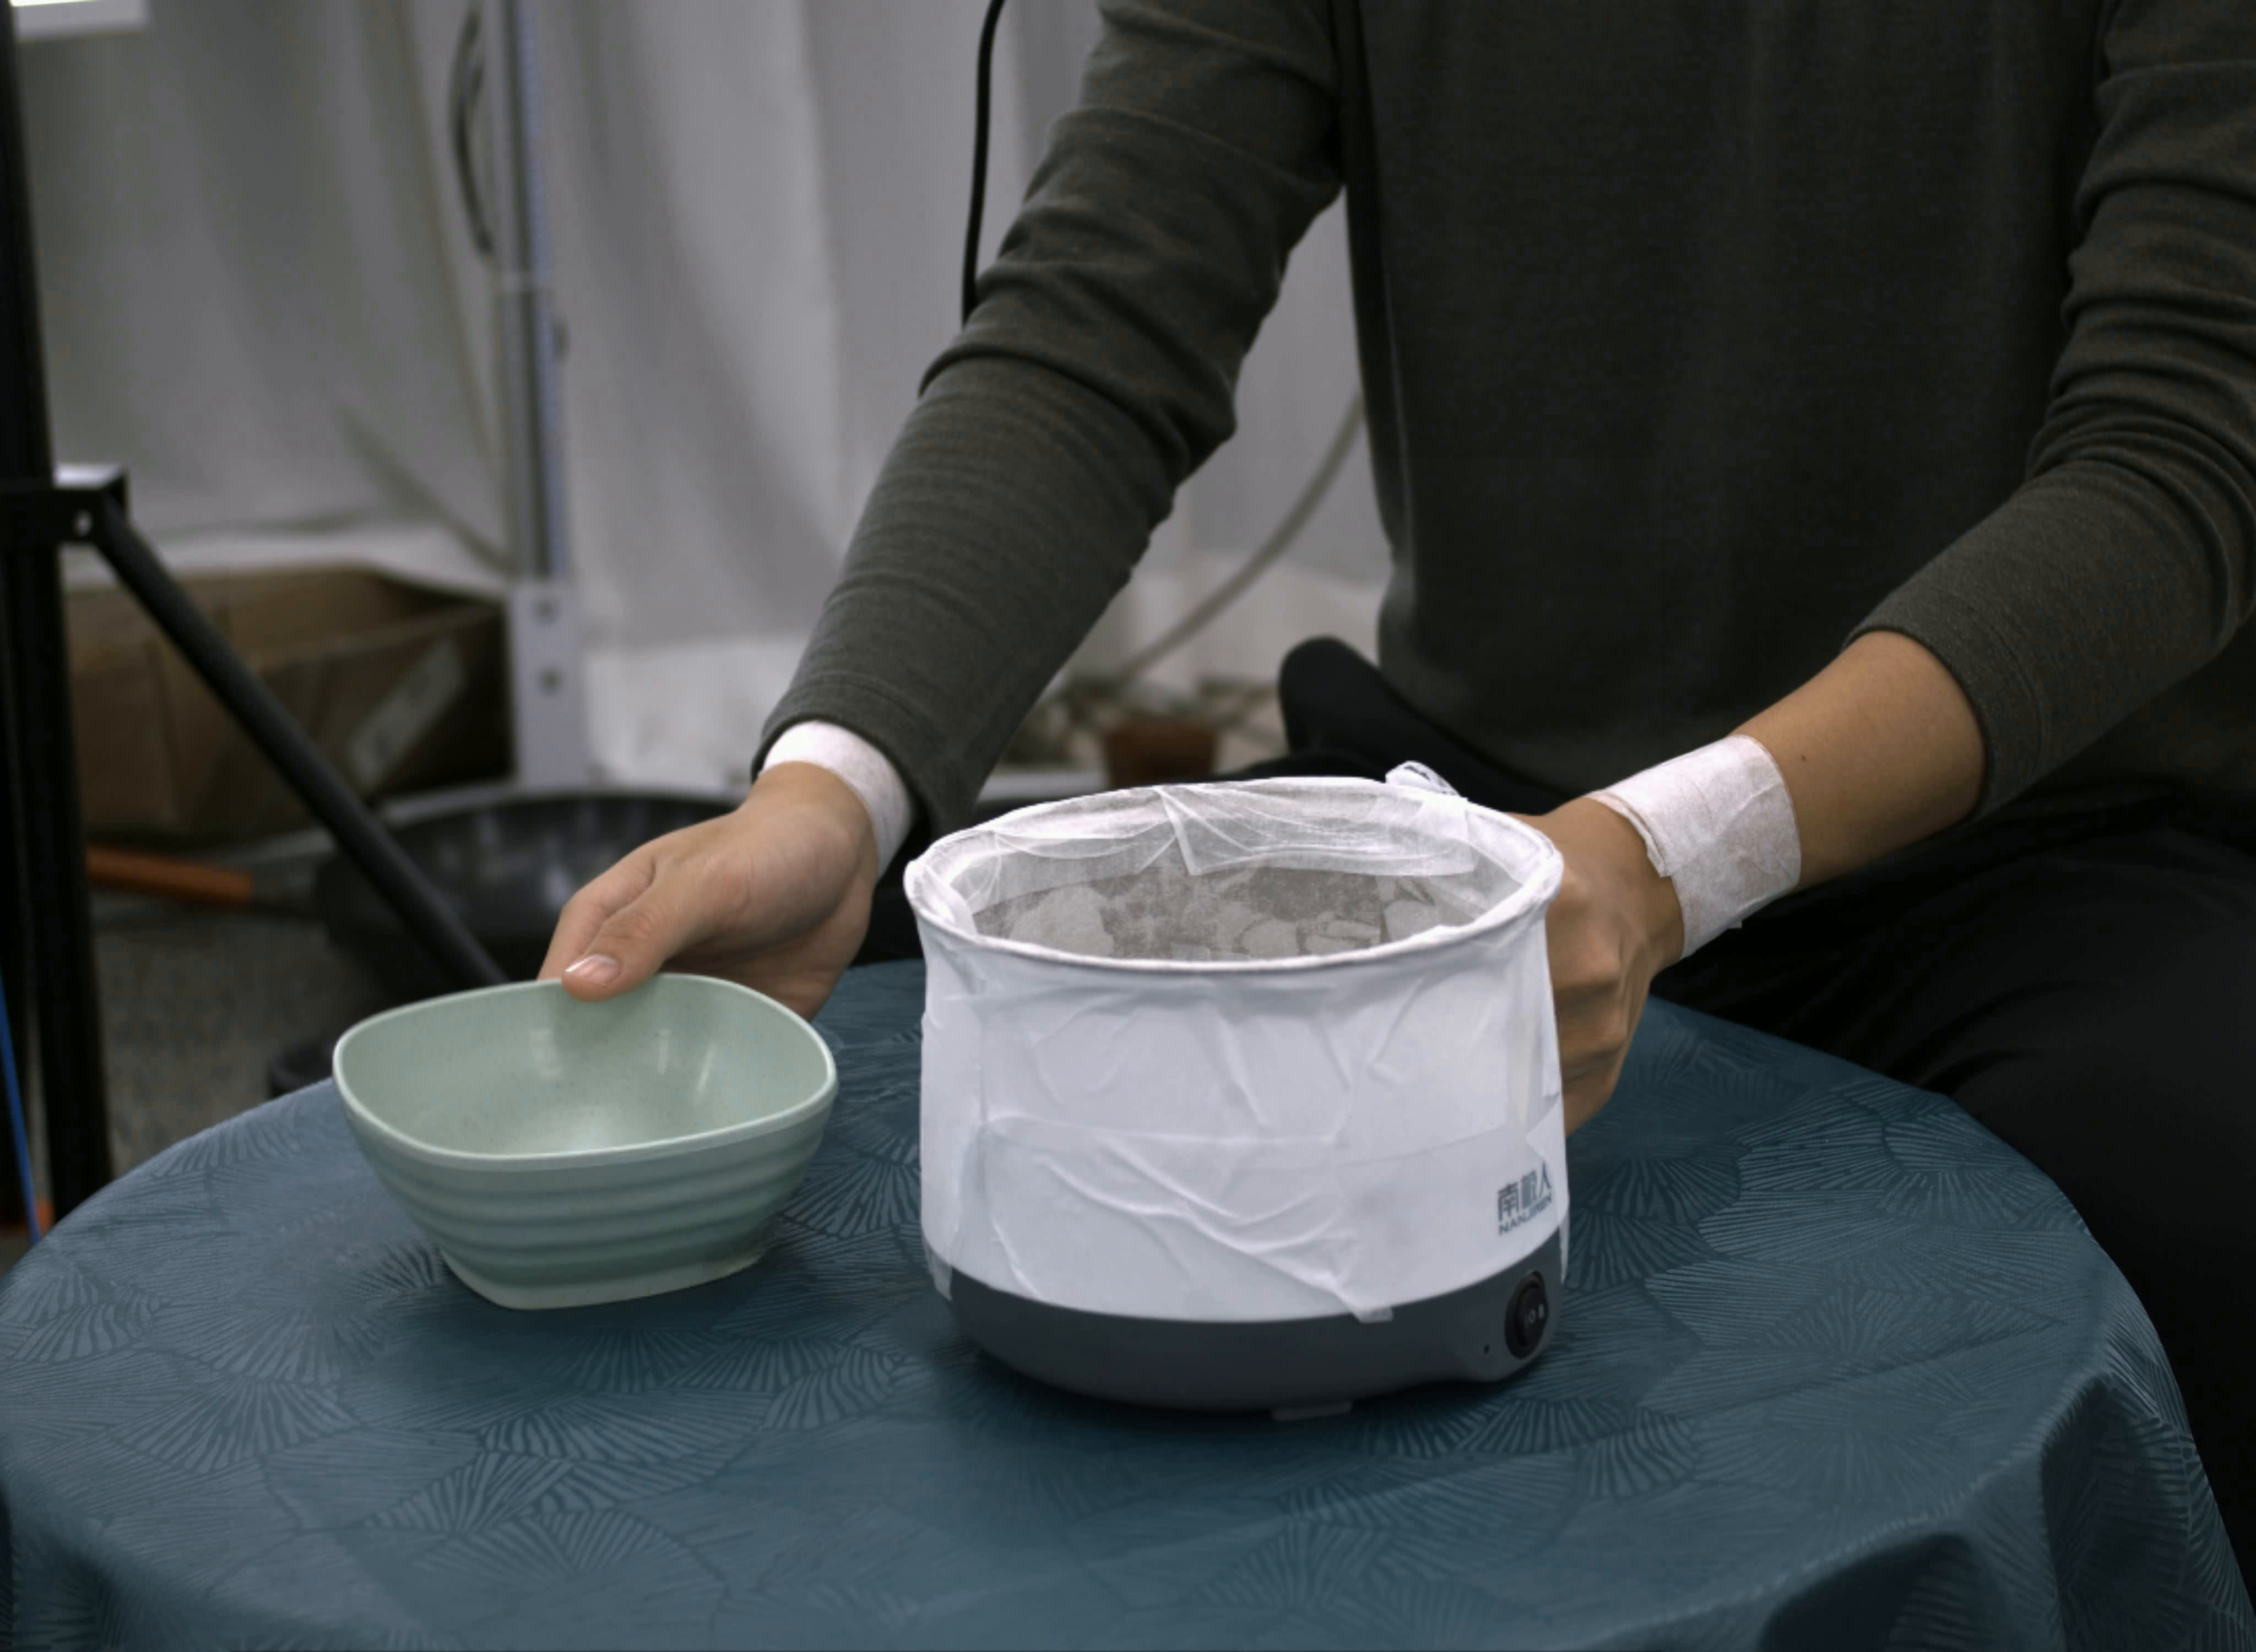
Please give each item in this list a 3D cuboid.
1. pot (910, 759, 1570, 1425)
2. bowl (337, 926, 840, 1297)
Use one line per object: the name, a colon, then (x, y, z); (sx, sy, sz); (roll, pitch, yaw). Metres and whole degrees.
pot: (0.046, 0.065, 1.455); (0.182, 0.136, 0.229); (8, 19, 31)
bowl: (-0.153, 0.087, 1.526); (0.151, 0.058, 0.152); (-3, 25, 0)
